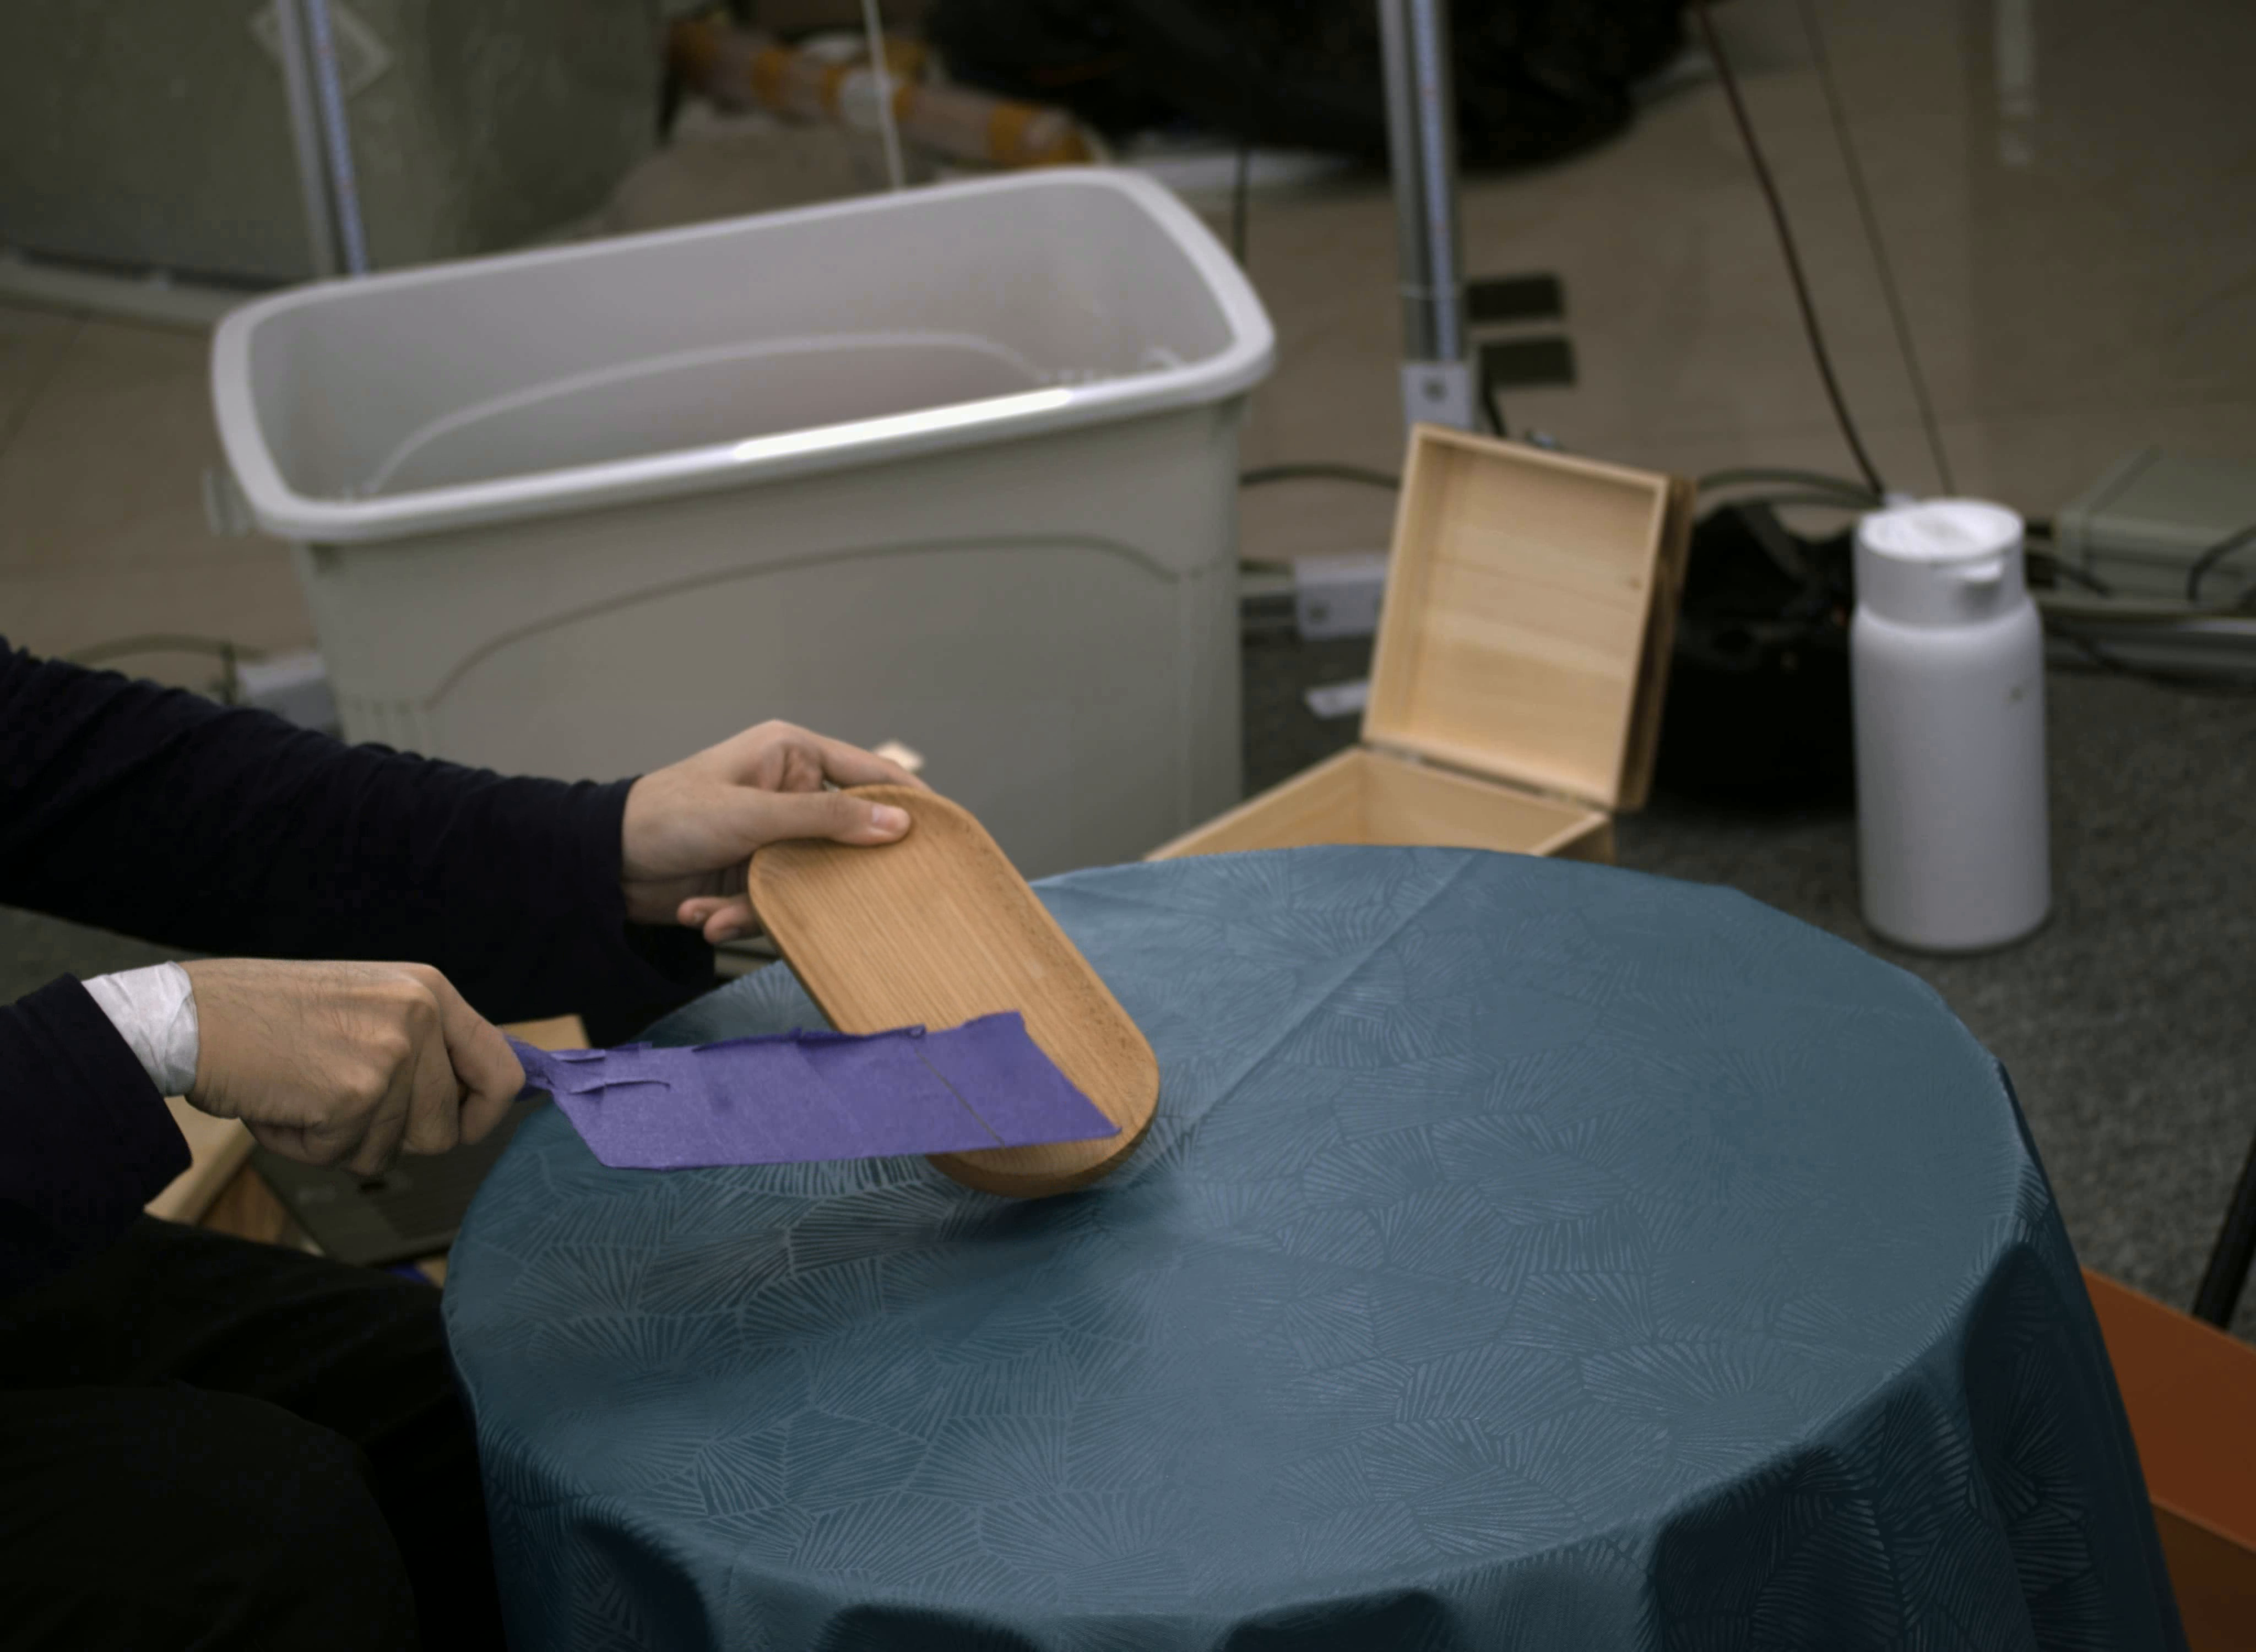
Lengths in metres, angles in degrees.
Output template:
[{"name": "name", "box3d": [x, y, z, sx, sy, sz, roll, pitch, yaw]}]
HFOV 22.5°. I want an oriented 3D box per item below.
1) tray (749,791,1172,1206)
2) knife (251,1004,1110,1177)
[{"name": "tray", "box3d": [-0.067, 0.066, 2.218, 0.101, 0.021, 0.228, -25, 52, -19]}, {"name": "knife", "box3d": [-0.158, 0.098, 2.077, 0.314, 0.033, 0.102, -5, 27, -27]}]
